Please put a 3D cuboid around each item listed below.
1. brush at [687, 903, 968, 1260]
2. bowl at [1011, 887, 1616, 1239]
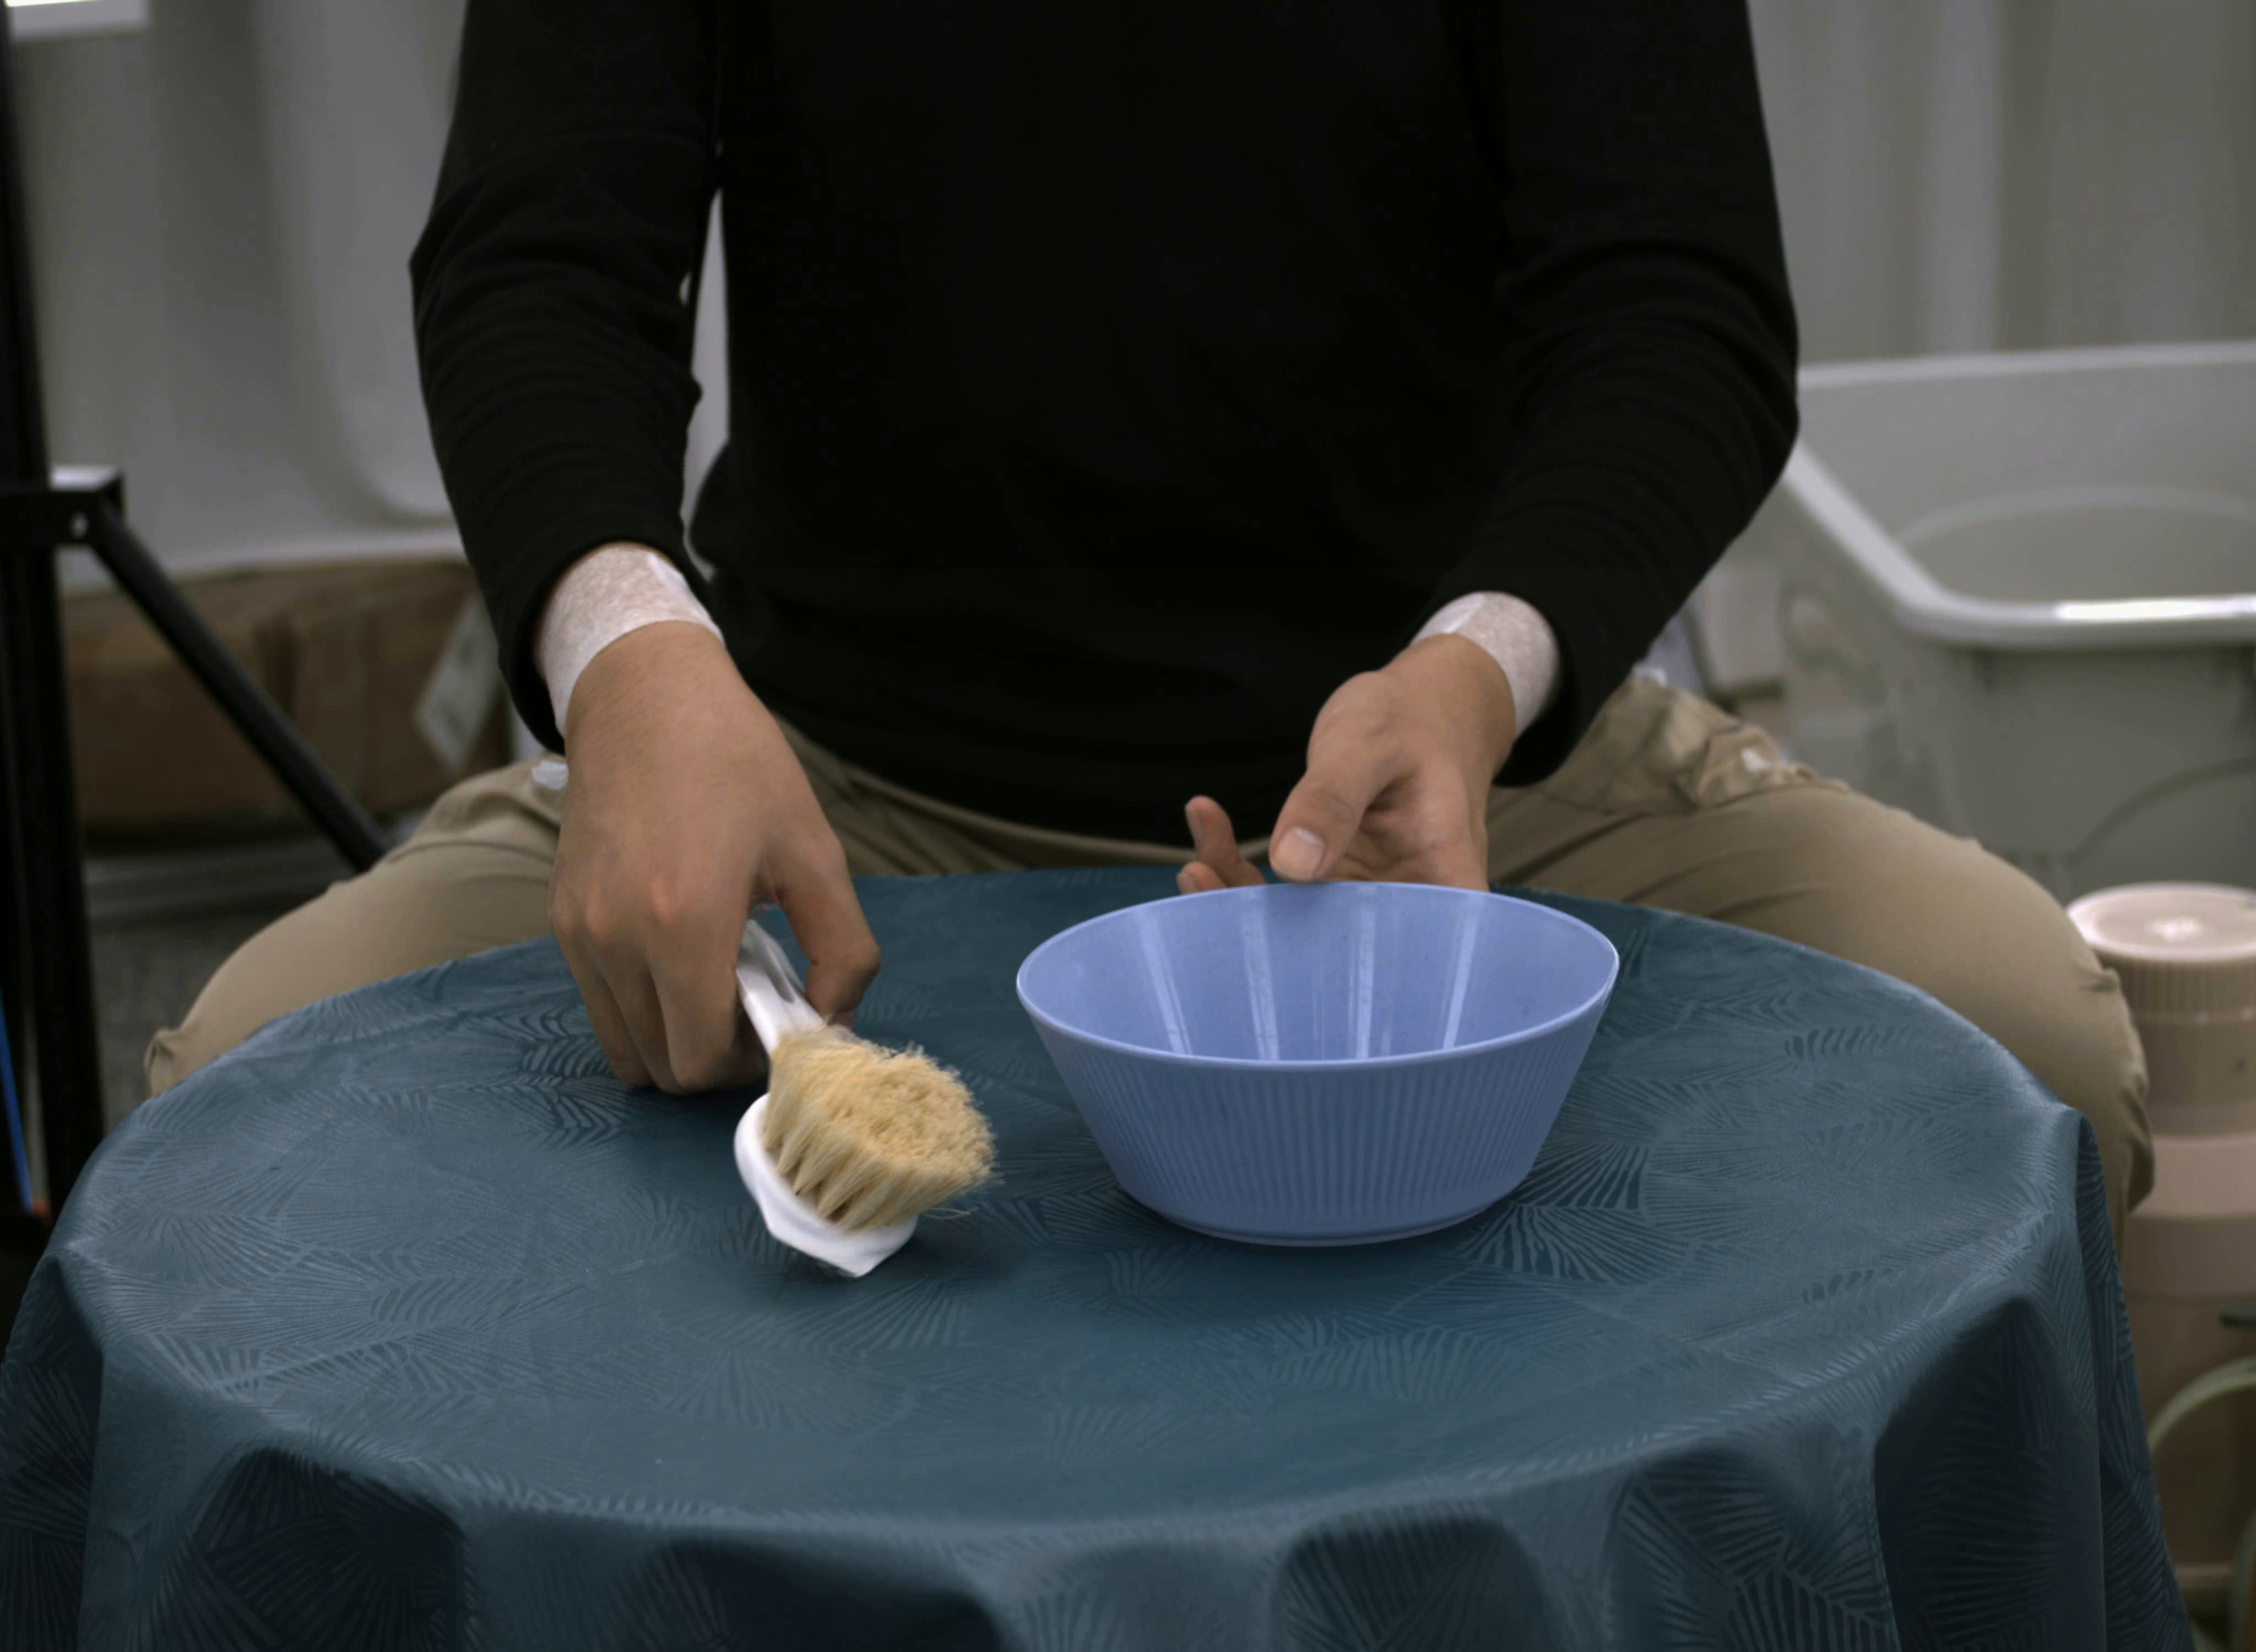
[{"bbox_3d":[-0.098,0.055,1.605,0.067,0.056,0.269,37,9,-18],"label":"brush"},{"bbox_3d":[0.054,0.071,1.546,0.175,0.070,0.177,-2,15,-1],"label":"bowl"}]
